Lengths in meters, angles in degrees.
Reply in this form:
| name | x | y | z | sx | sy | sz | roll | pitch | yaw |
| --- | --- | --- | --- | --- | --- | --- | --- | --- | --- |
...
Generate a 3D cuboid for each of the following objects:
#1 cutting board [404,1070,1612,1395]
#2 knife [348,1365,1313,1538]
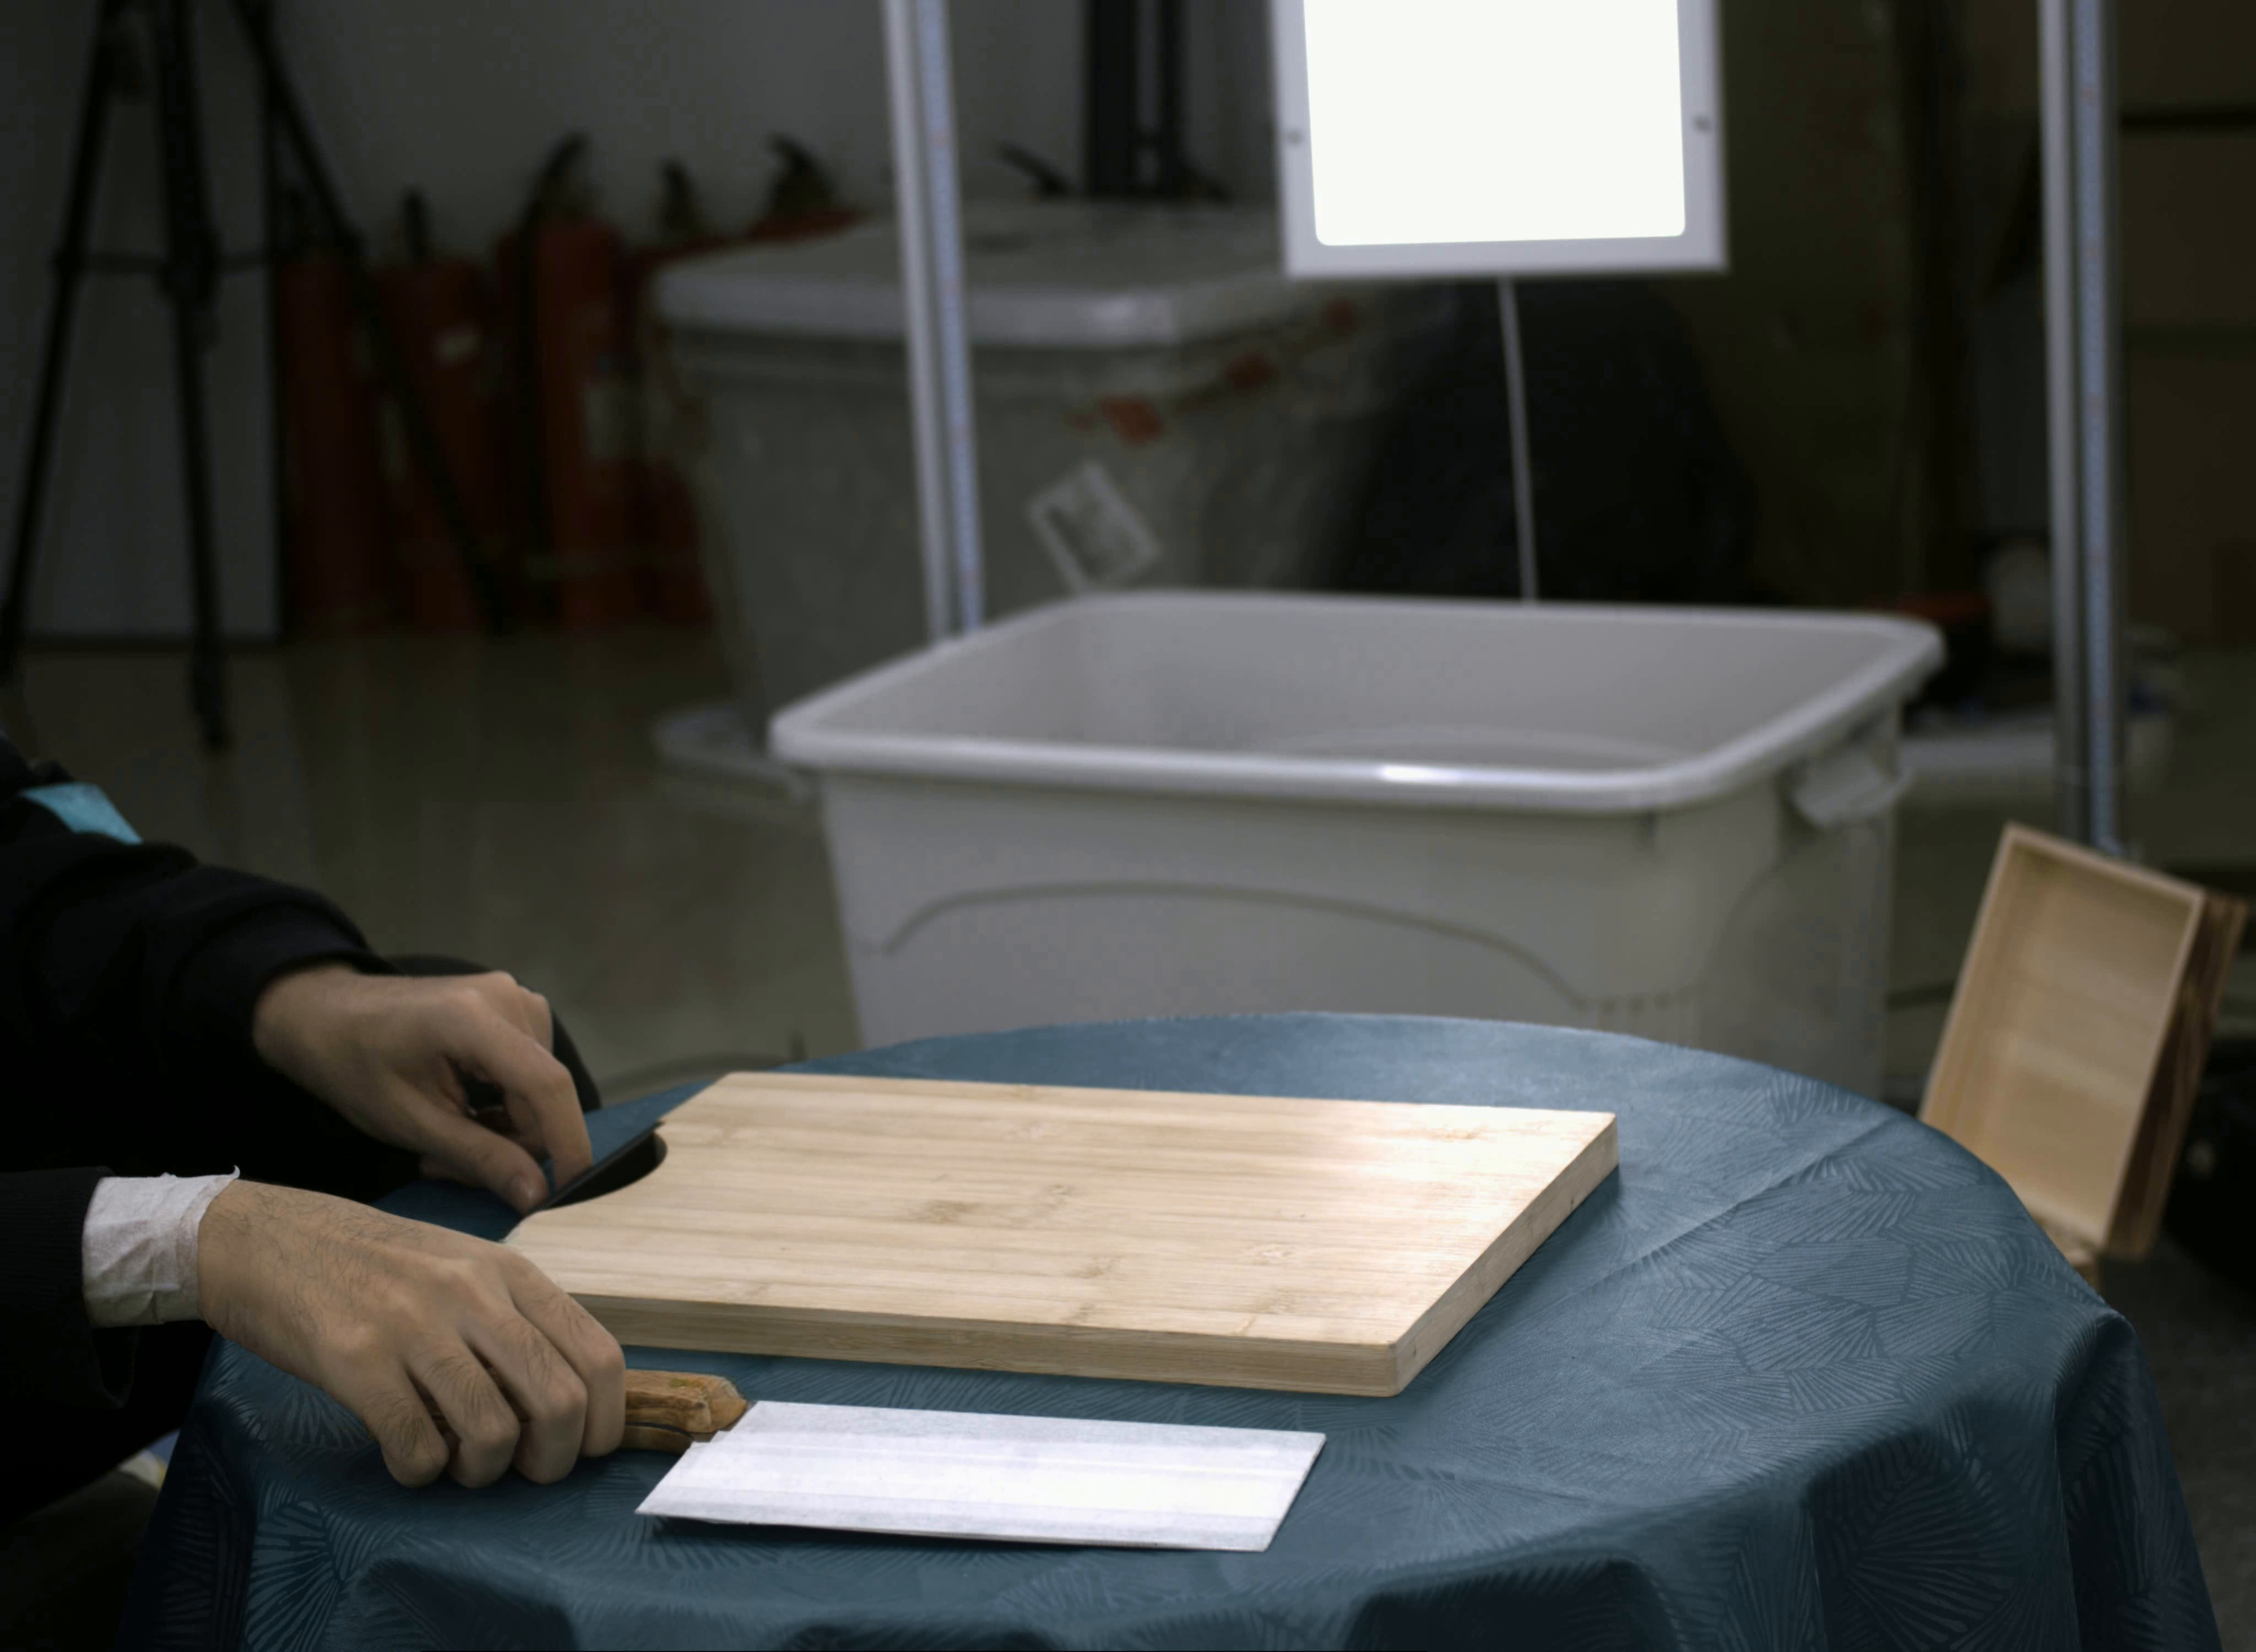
| name | x | y | z | sx | sy | sz | roll | pitch | yaw |
| --- | --- | --- | --- | --- | --- | --- | --- | --- | --- |
| cutting board | -0.036 | 0.132 | 1.851 | 0.354 | 0.023 | 0.246 | 1 | 15 | 23 |
| knife | -0.097 | 0.189 | 1.646 | 0.309 | 0.021 | 0.091 | 1 | 17 | 16 |
